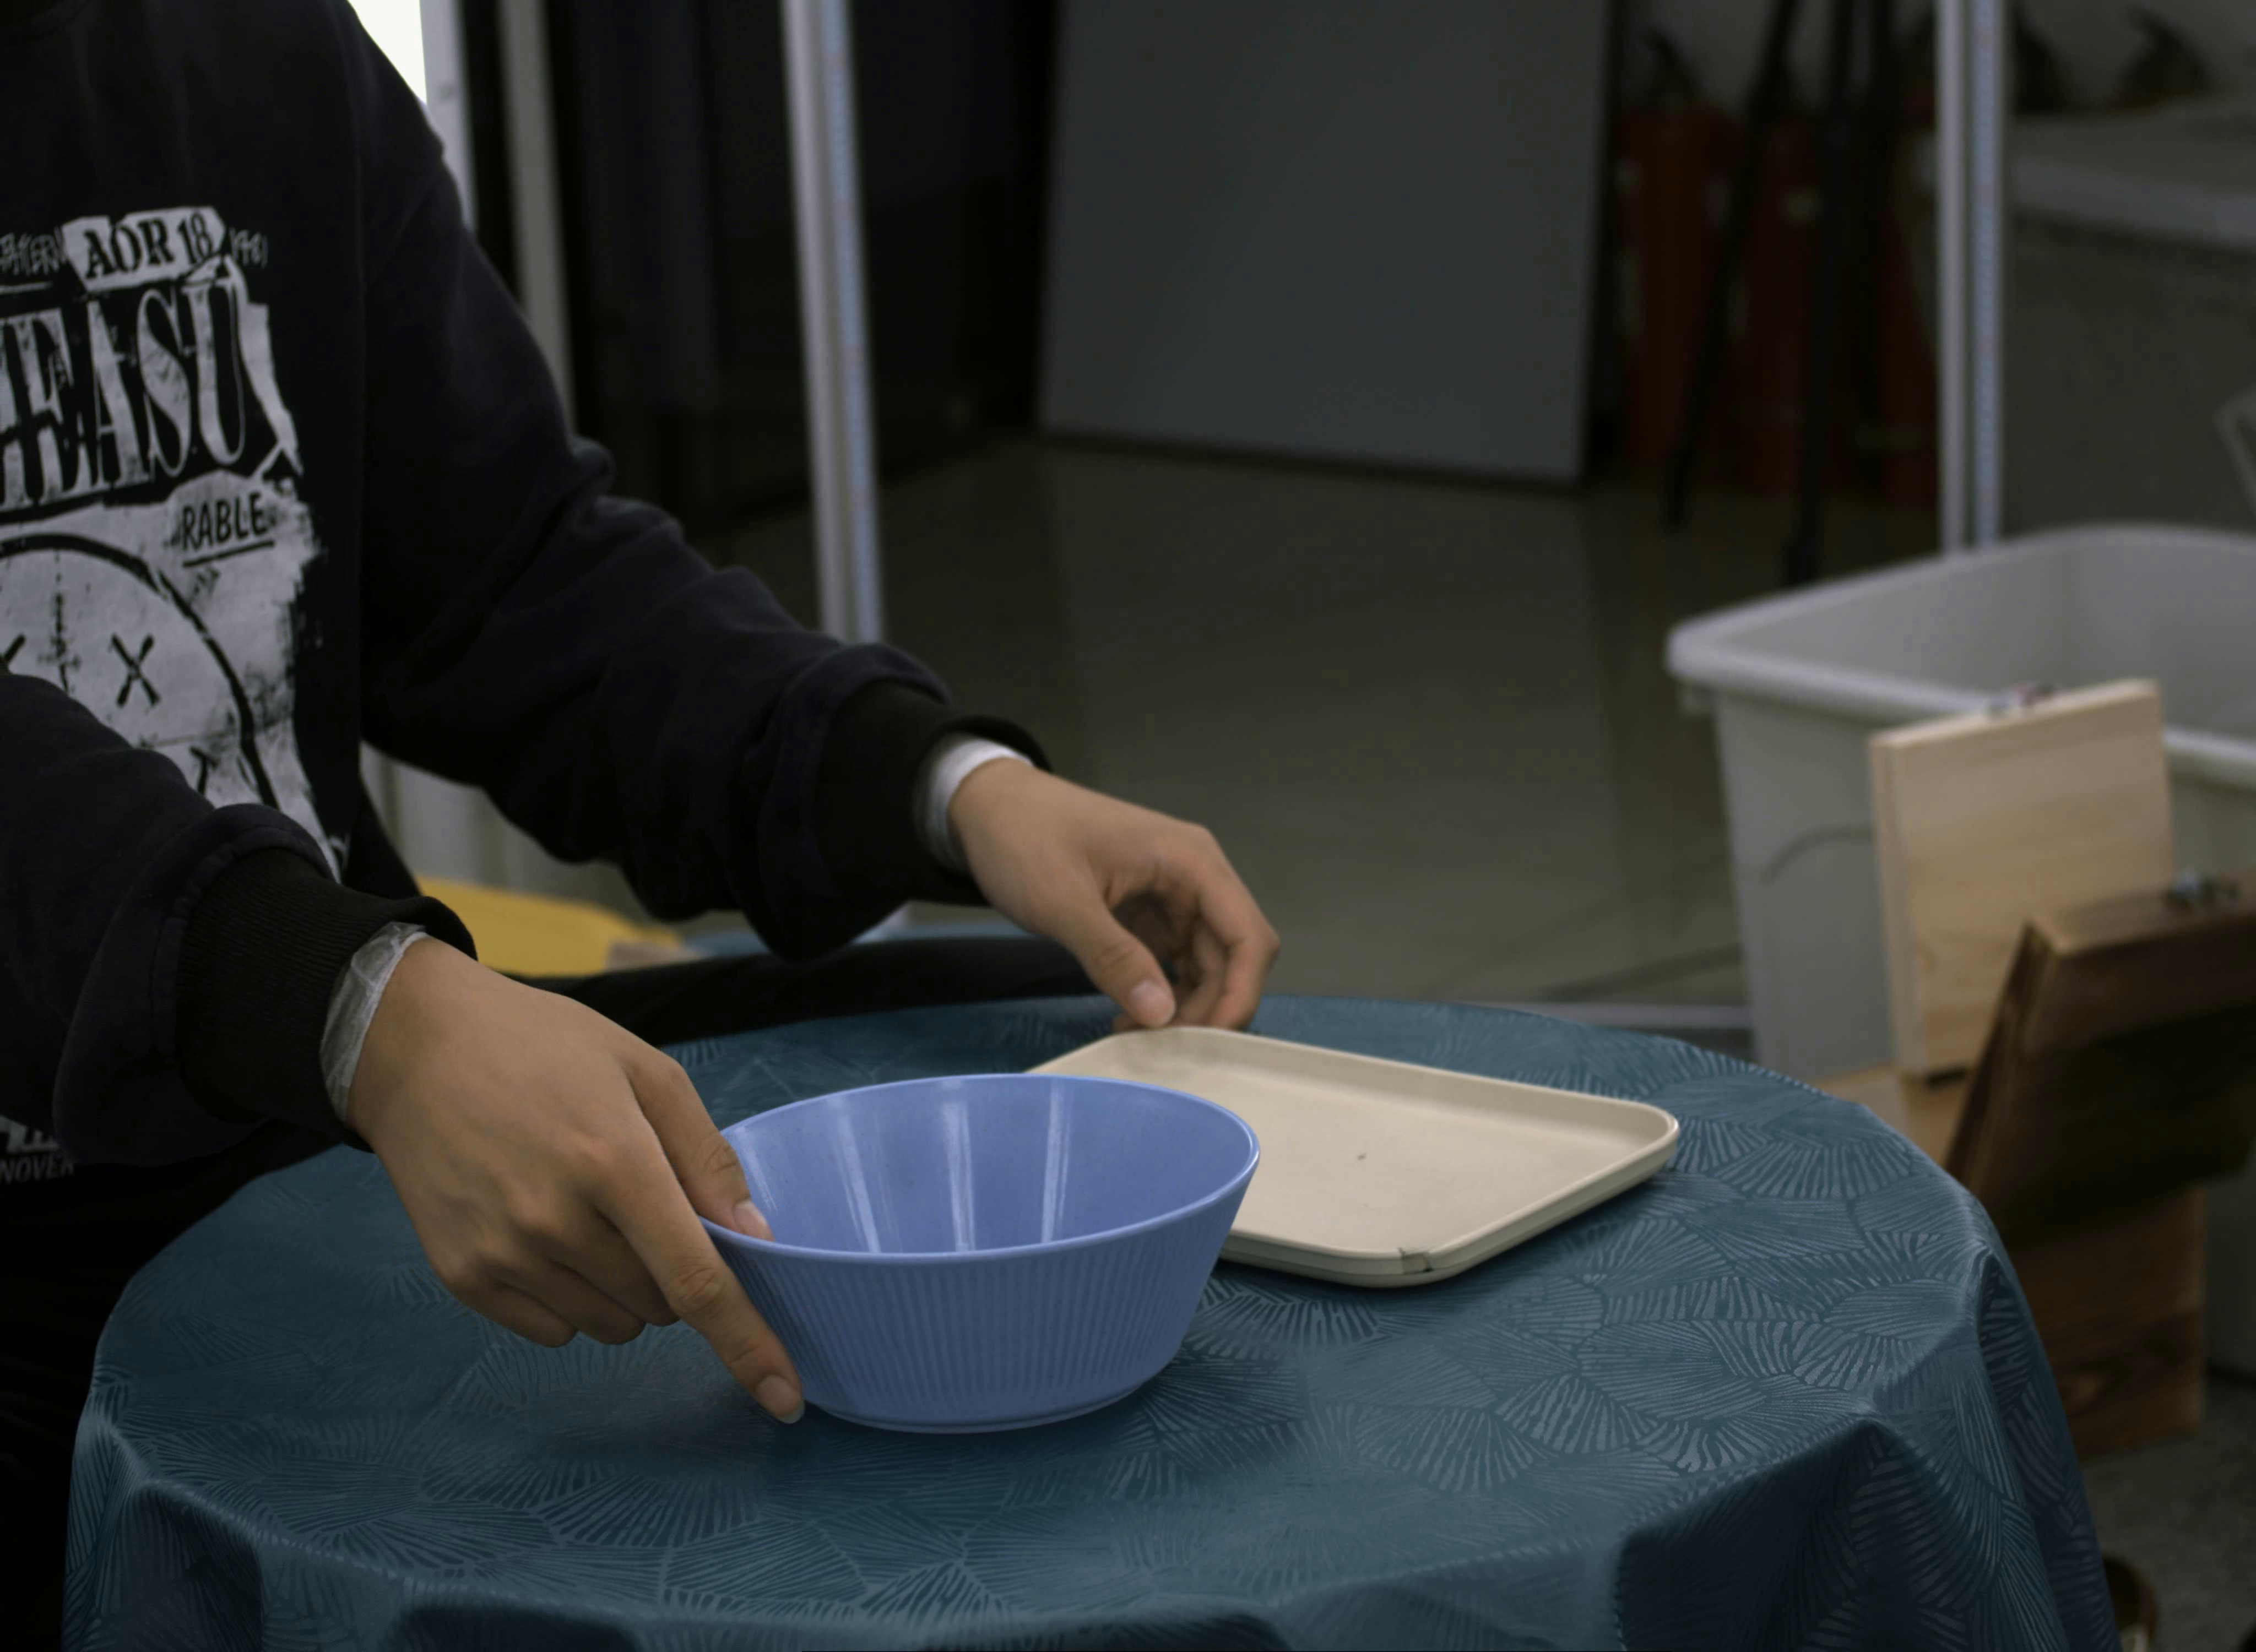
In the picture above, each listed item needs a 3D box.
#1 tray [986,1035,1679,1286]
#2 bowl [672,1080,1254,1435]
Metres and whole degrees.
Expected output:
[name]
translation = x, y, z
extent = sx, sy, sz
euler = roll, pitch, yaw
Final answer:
[tray]
translation = 0.049, 0.109, 1.770
extent = 0.241, 0.017, 0.168
euler = 8, 17, 40
[bowl]
translation = -0.047, 0.130, 1.601
extent = 0.174, 0.071, 0.176
euler = -4, 13, 0
